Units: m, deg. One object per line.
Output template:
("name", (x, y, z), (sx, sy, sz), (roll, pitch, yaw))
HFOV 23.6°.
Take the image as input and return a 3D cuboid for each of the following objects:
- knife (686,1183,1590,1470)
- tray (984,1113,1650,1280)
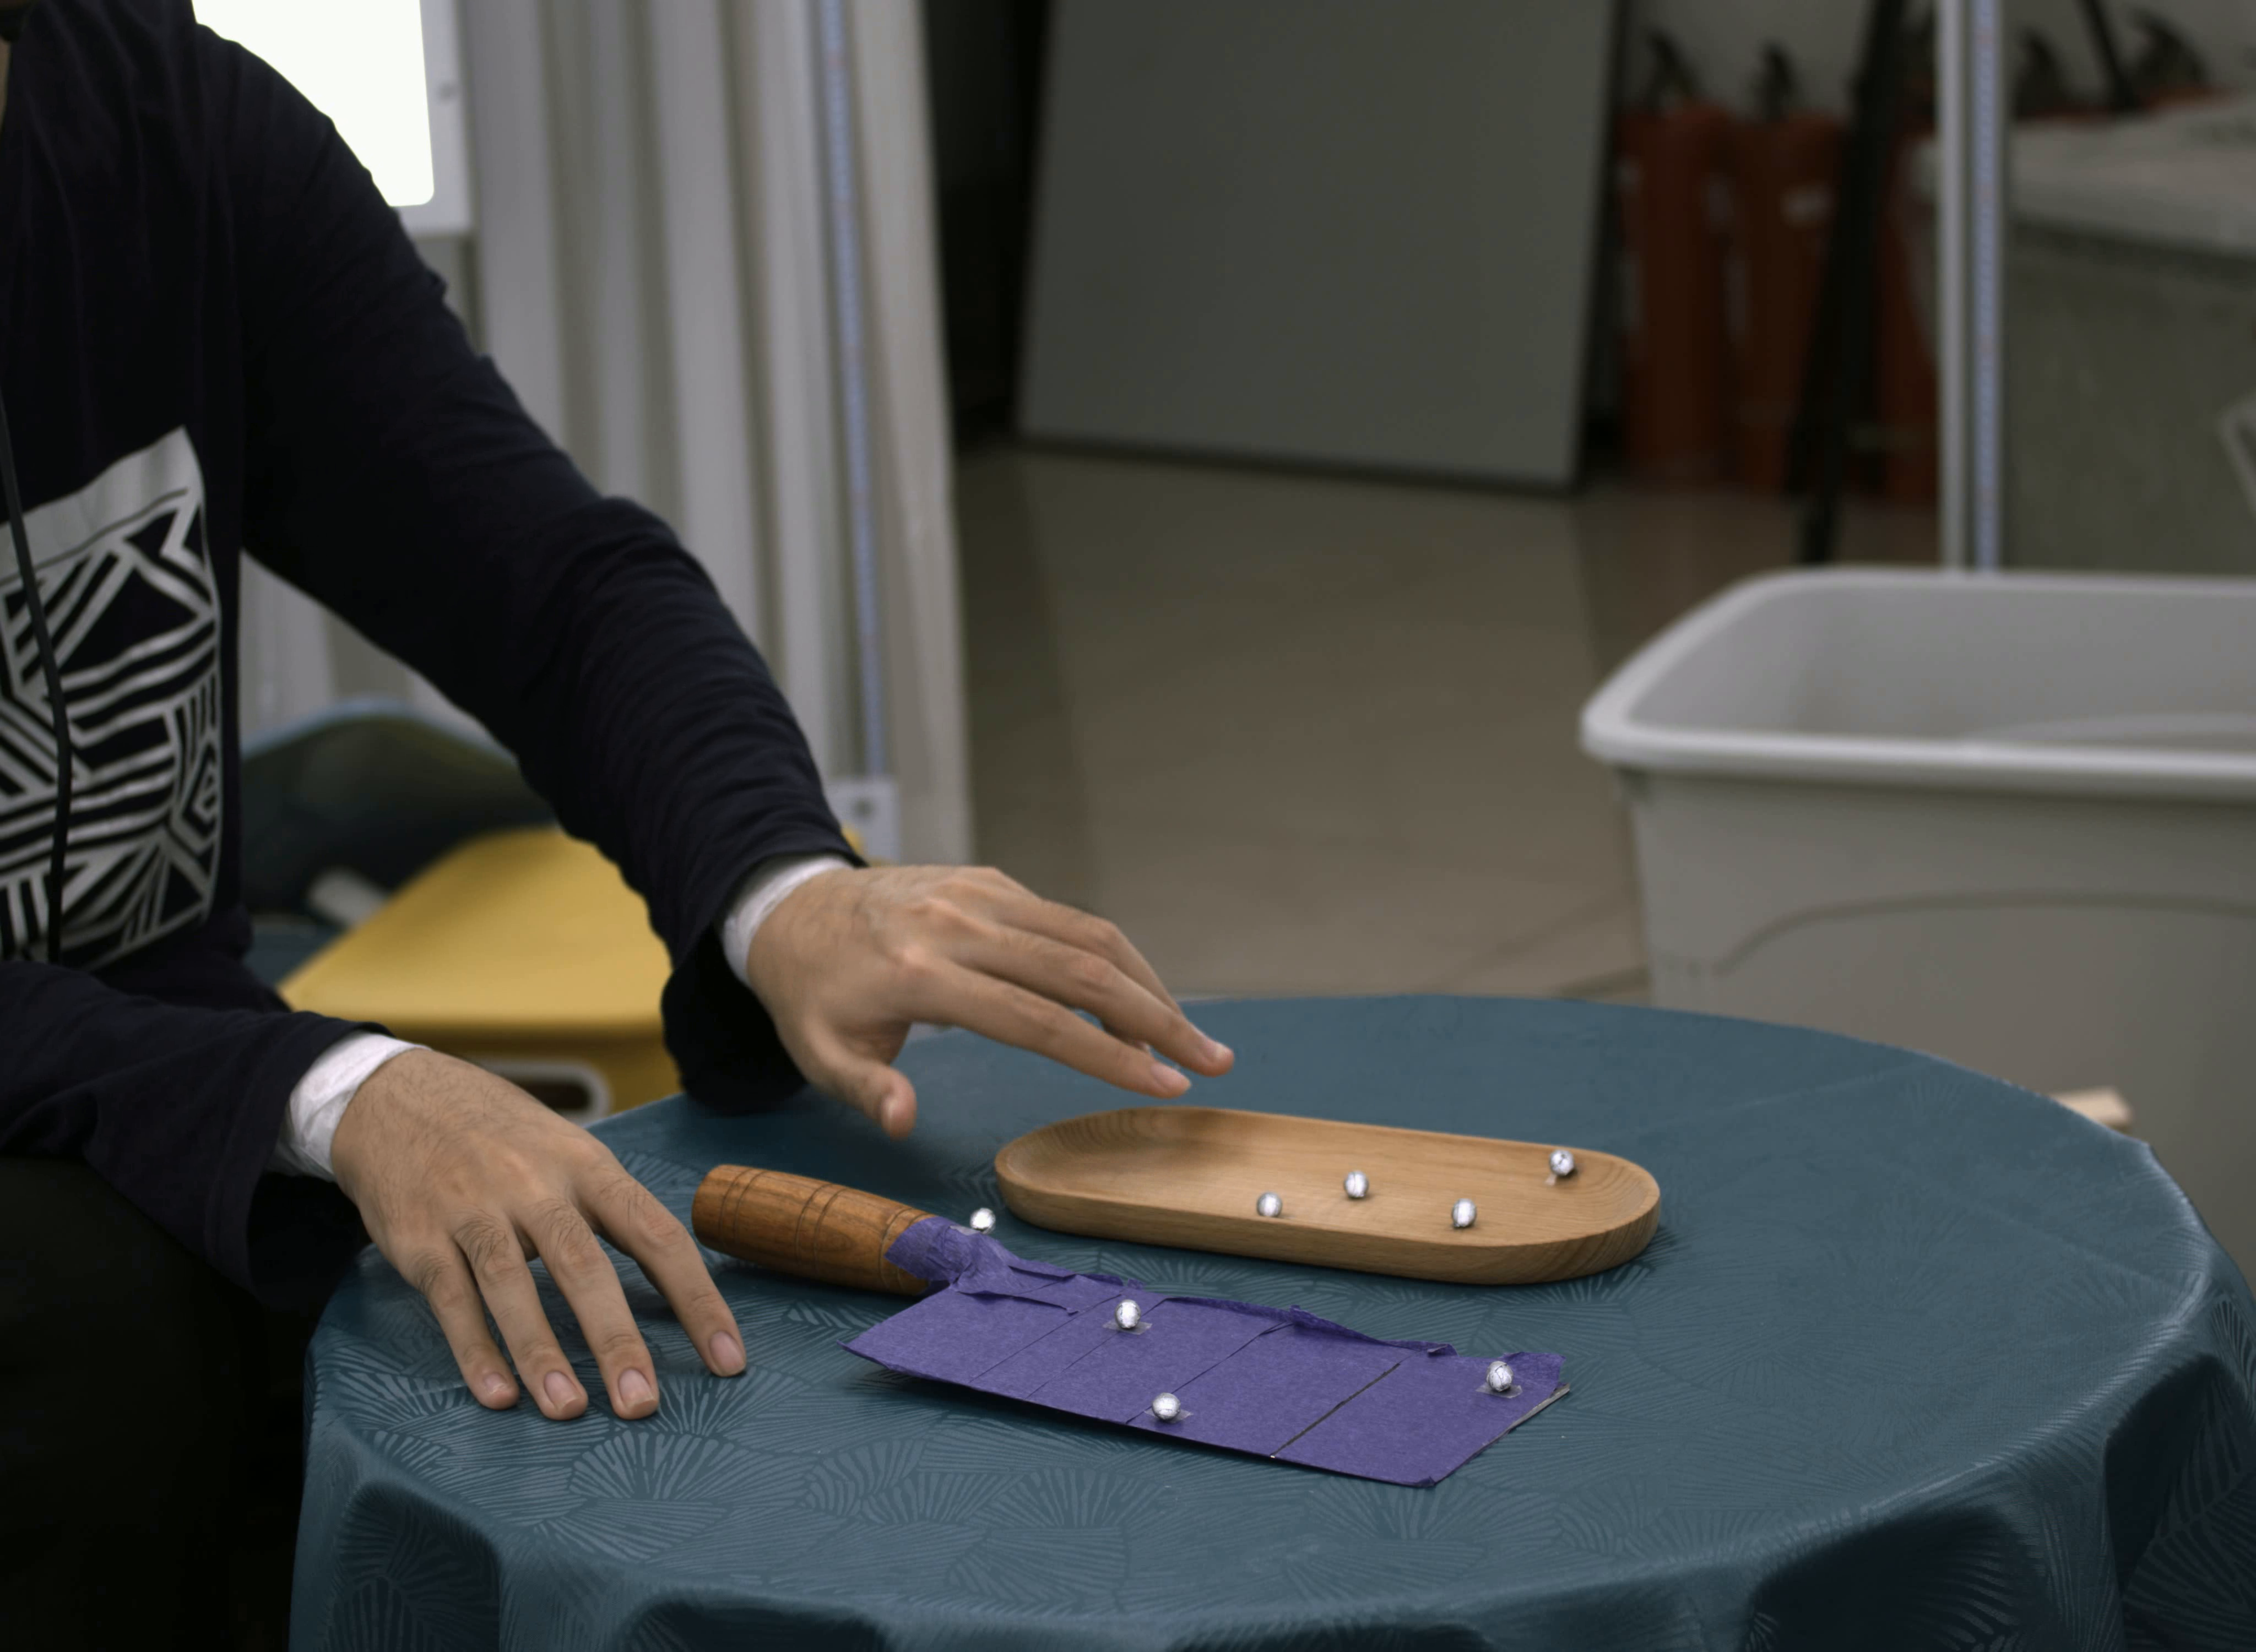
("knife", (-0.019, 0.148, 1.612), (0.317, 0.032, 0.102), (6, 16, 34))
("tray", (0.059, 0.119, 1.733), (0.232, 0.020, 0.100), (2, 14, 31))
